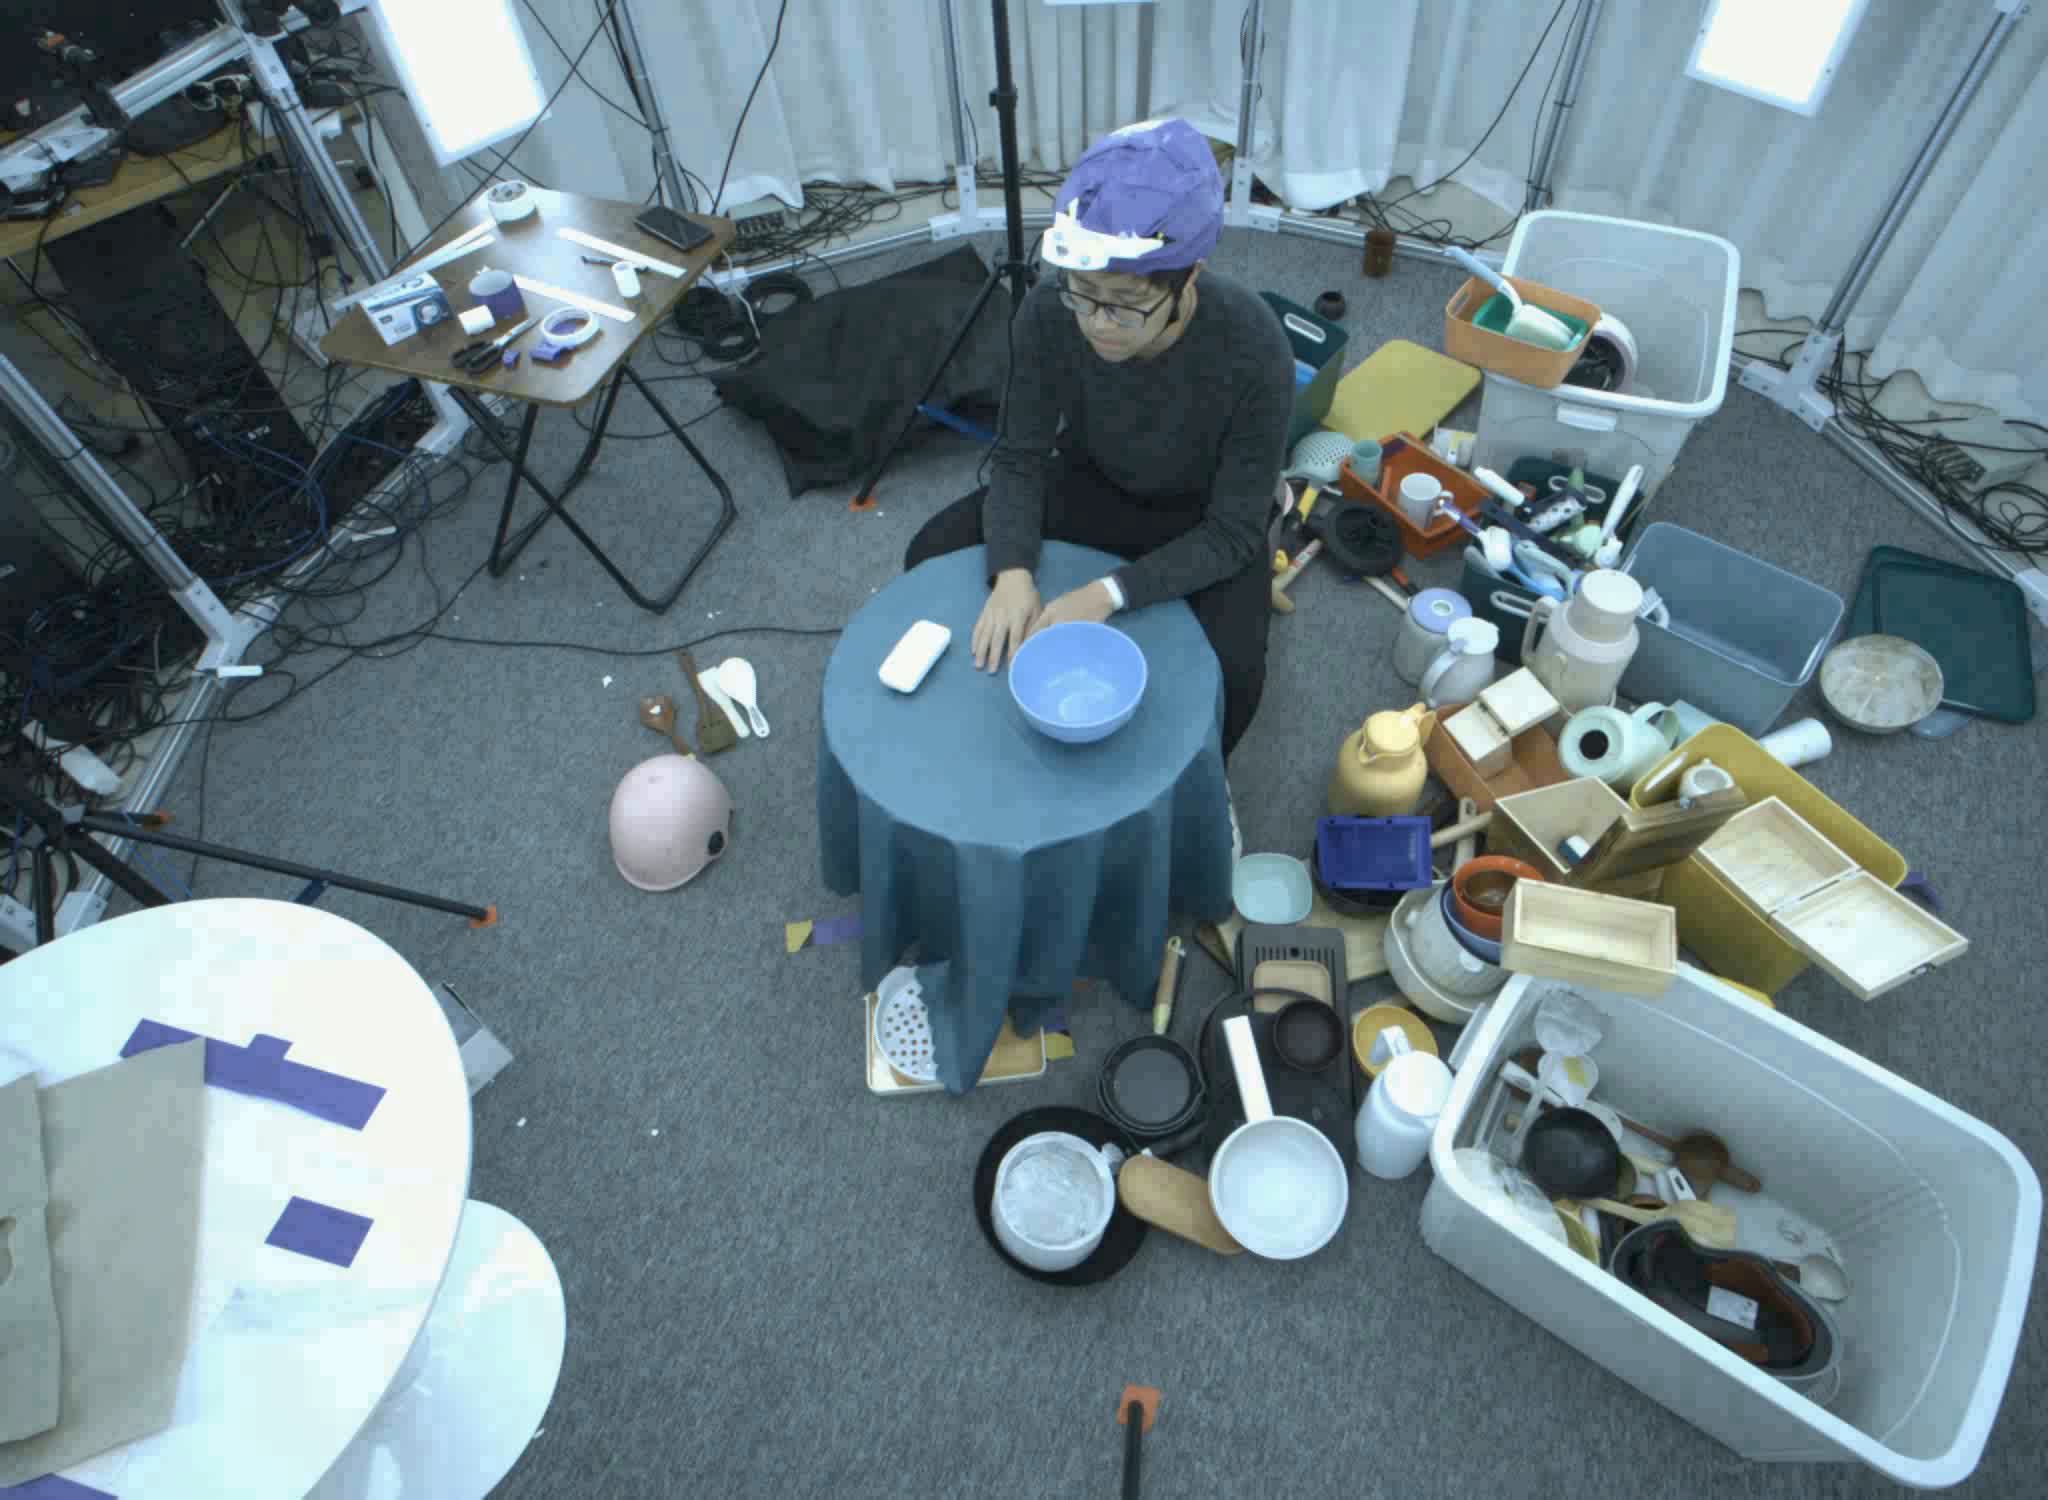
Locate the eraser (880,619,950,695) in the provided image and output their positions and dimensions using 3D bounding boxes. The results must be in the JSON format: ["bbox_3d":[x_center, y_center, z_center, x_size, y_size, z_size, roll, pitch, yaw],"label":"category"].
[{"bbox_3d":[-0.165,-0.144,1.876,0.062,0.035,0.131,24,60,17],"label":"eraser"}]

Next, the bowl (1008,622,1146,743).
[{"bbox_3d":[0.078,-0.083,1.788,0.196,0.096,0.194,-1,54,3],"label":"bowl"}]
